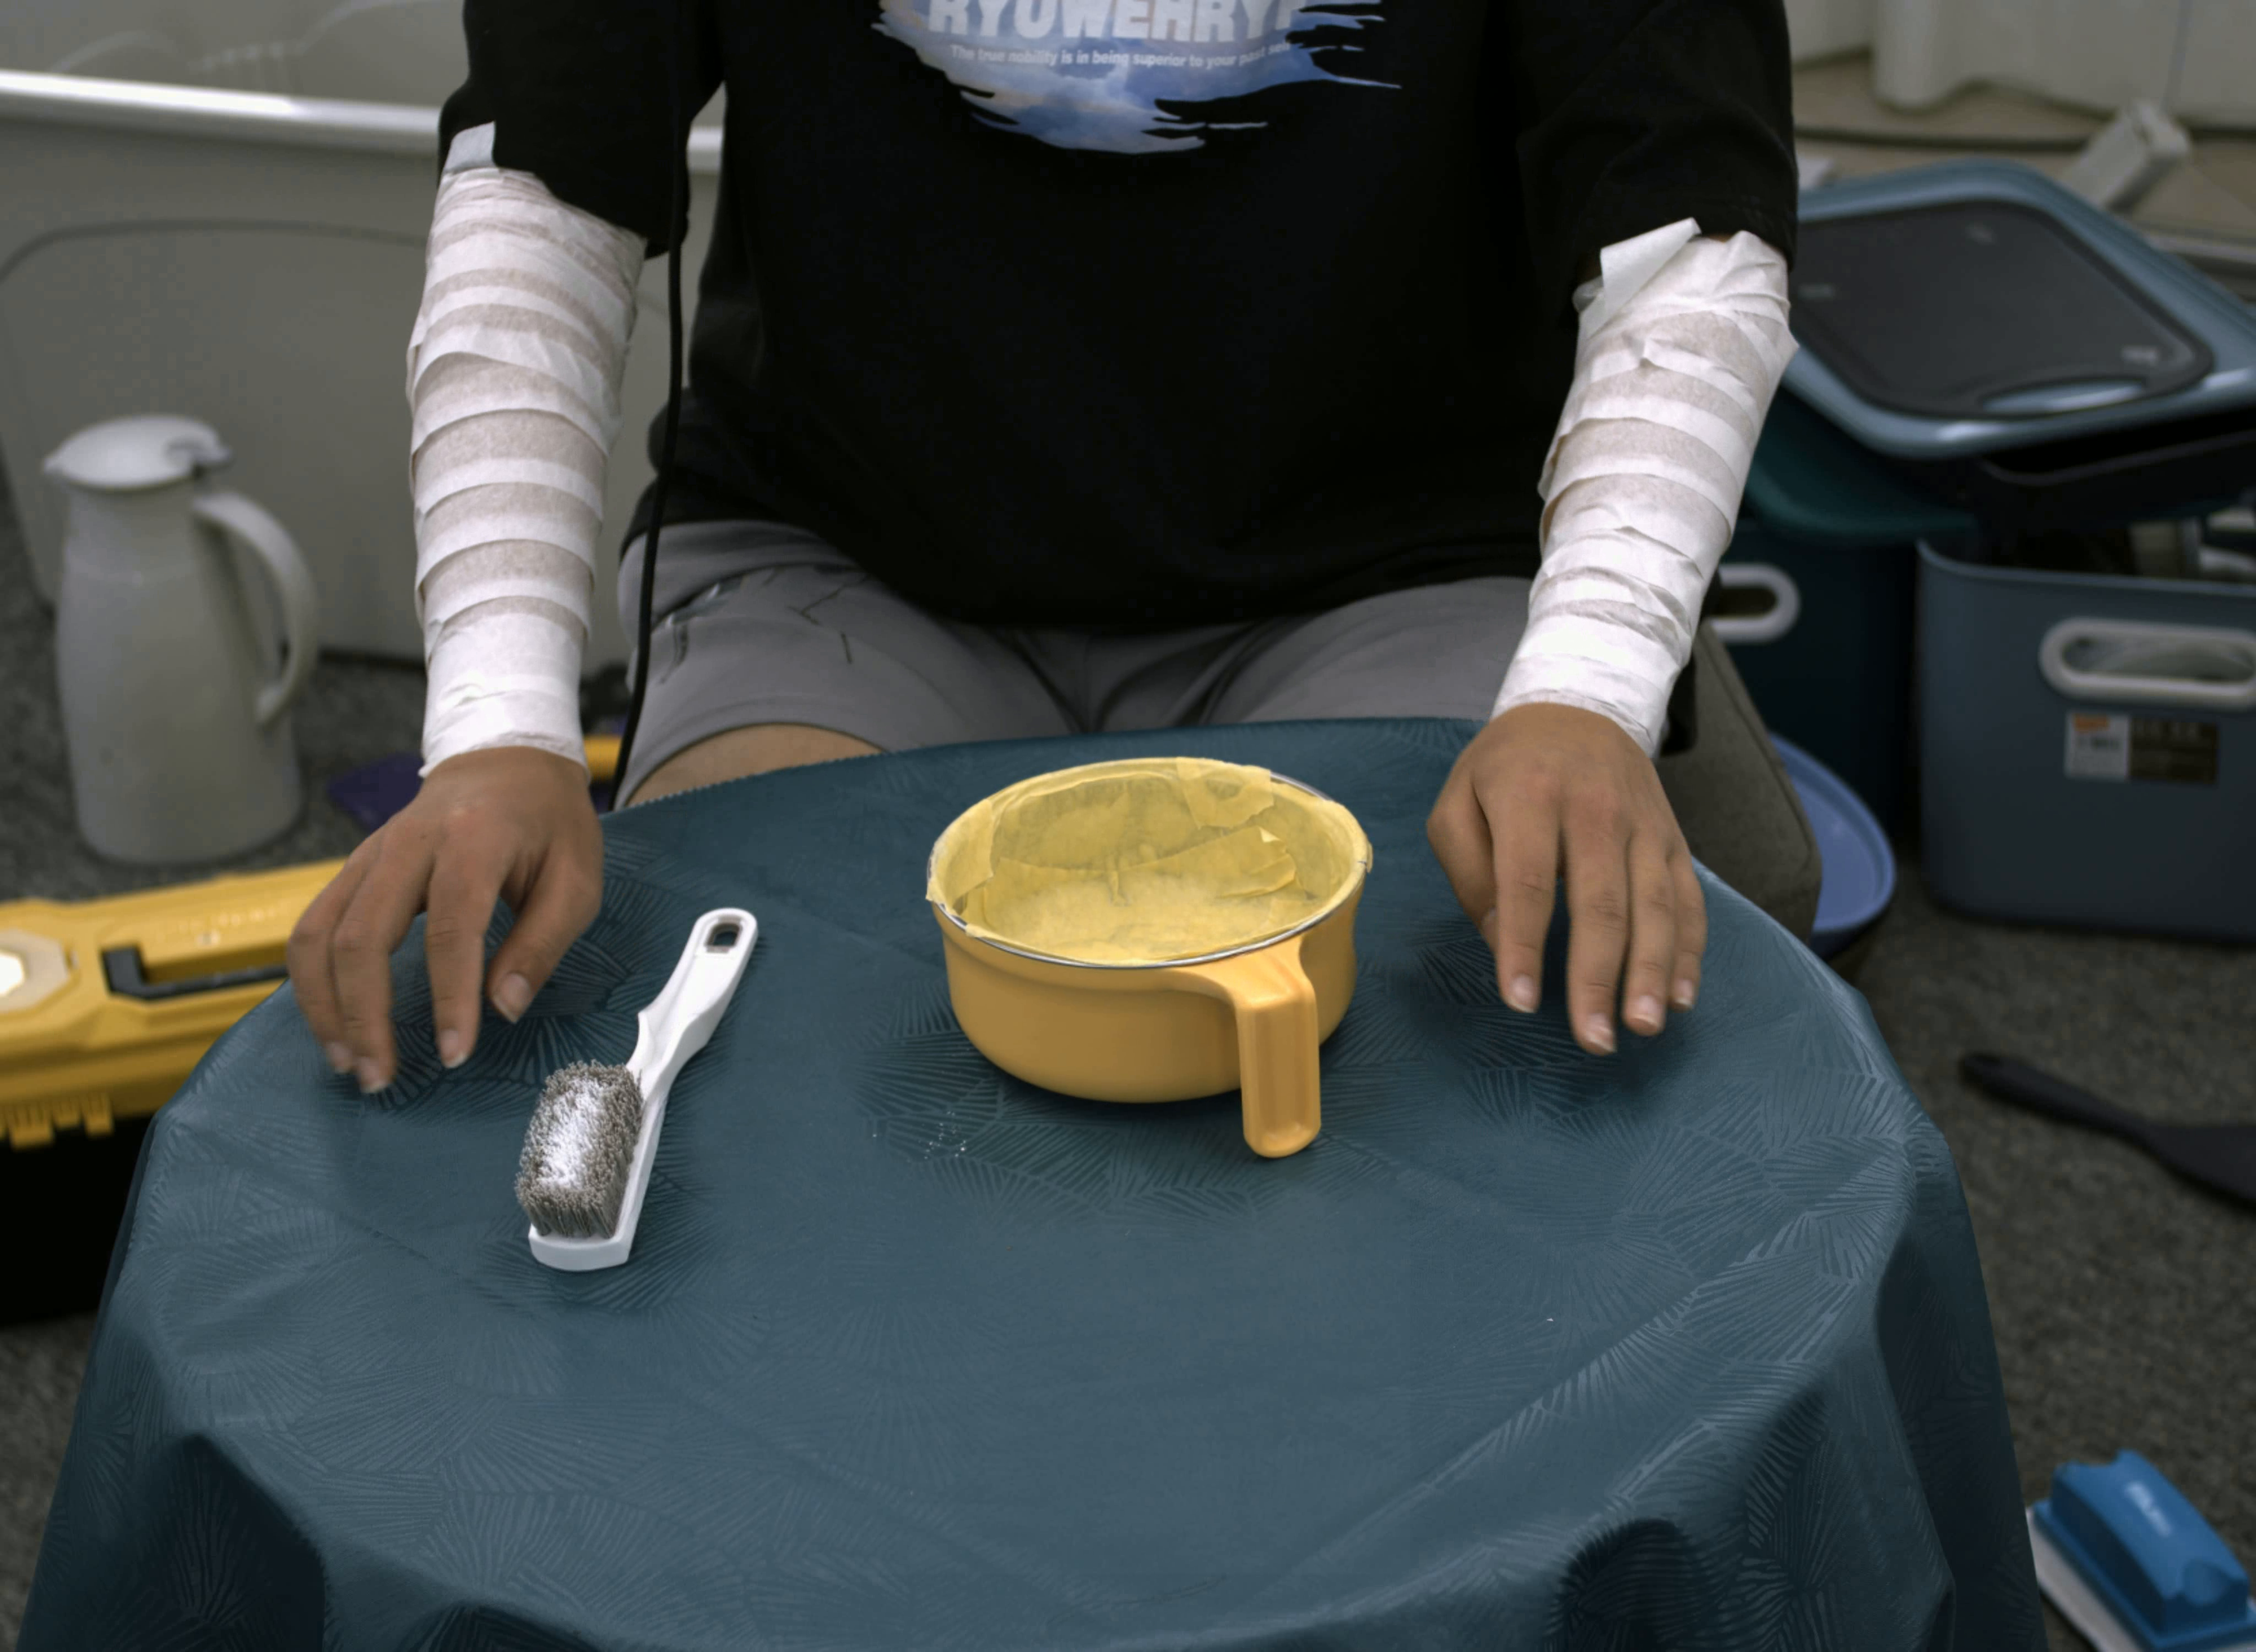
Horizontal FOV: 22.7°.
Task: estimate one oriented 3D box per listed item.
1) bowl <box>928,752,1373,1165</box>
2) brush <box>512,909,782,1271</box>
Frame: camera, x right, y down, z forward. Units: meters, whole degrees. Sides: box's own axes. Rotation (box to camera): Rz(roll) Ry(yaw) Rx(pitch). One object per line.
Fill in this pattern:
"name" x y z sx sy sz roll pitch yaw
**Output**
"bowl" 0.013 0.045 1.935 0.154 0.073 0.180 -12 29 -26
"brush" -0.161 0.073 1.919 0.034 0.050 0.248 1 28 13
